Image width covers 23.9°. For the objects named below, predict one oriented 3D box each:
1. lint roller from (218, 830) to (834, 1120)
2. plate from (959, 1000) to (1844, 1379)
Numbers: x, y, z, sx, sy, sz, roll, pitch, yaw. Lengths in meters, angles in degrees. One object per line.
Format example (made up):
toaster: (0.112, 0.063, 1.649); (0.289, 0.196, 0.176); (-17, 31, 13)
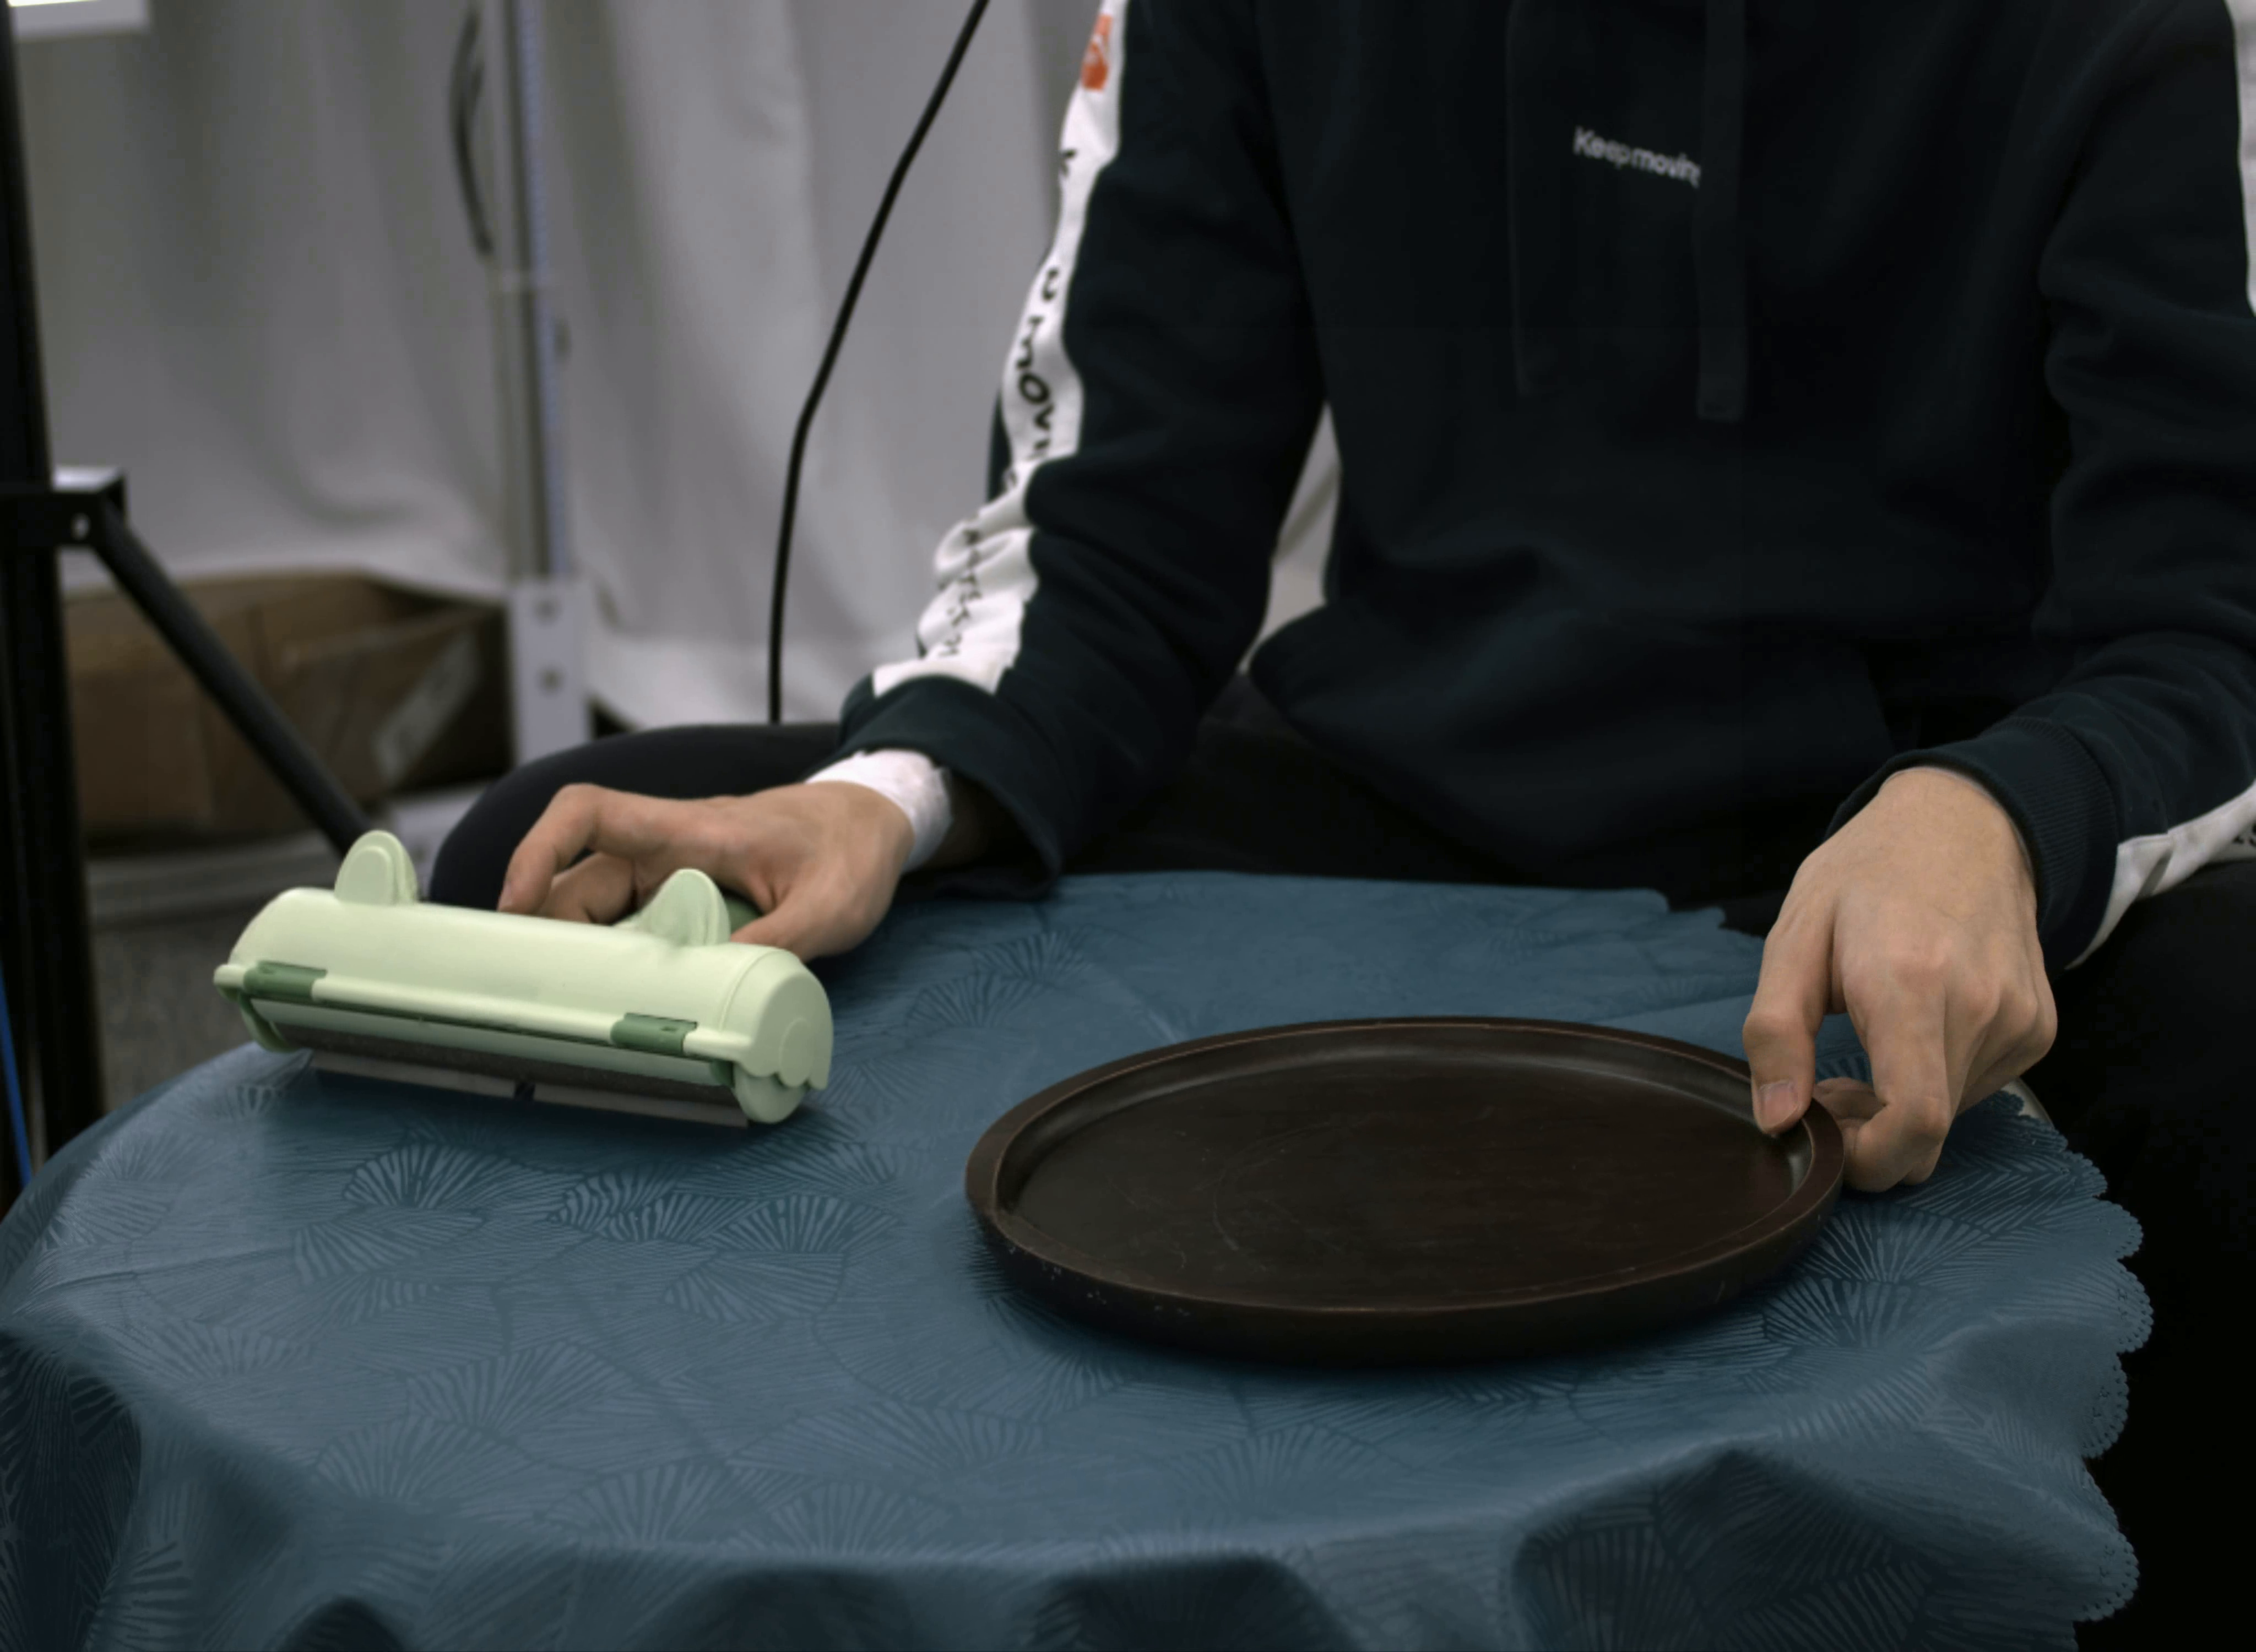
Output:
lint roller: (-0.163, 0.031, 1.709); (0.202, 0.082, 0.180); (6, 22, 28)
plate: (0.078, 0.104, 1.514); (0.253, 0.029, 0.256); (-5, 16, 0)
